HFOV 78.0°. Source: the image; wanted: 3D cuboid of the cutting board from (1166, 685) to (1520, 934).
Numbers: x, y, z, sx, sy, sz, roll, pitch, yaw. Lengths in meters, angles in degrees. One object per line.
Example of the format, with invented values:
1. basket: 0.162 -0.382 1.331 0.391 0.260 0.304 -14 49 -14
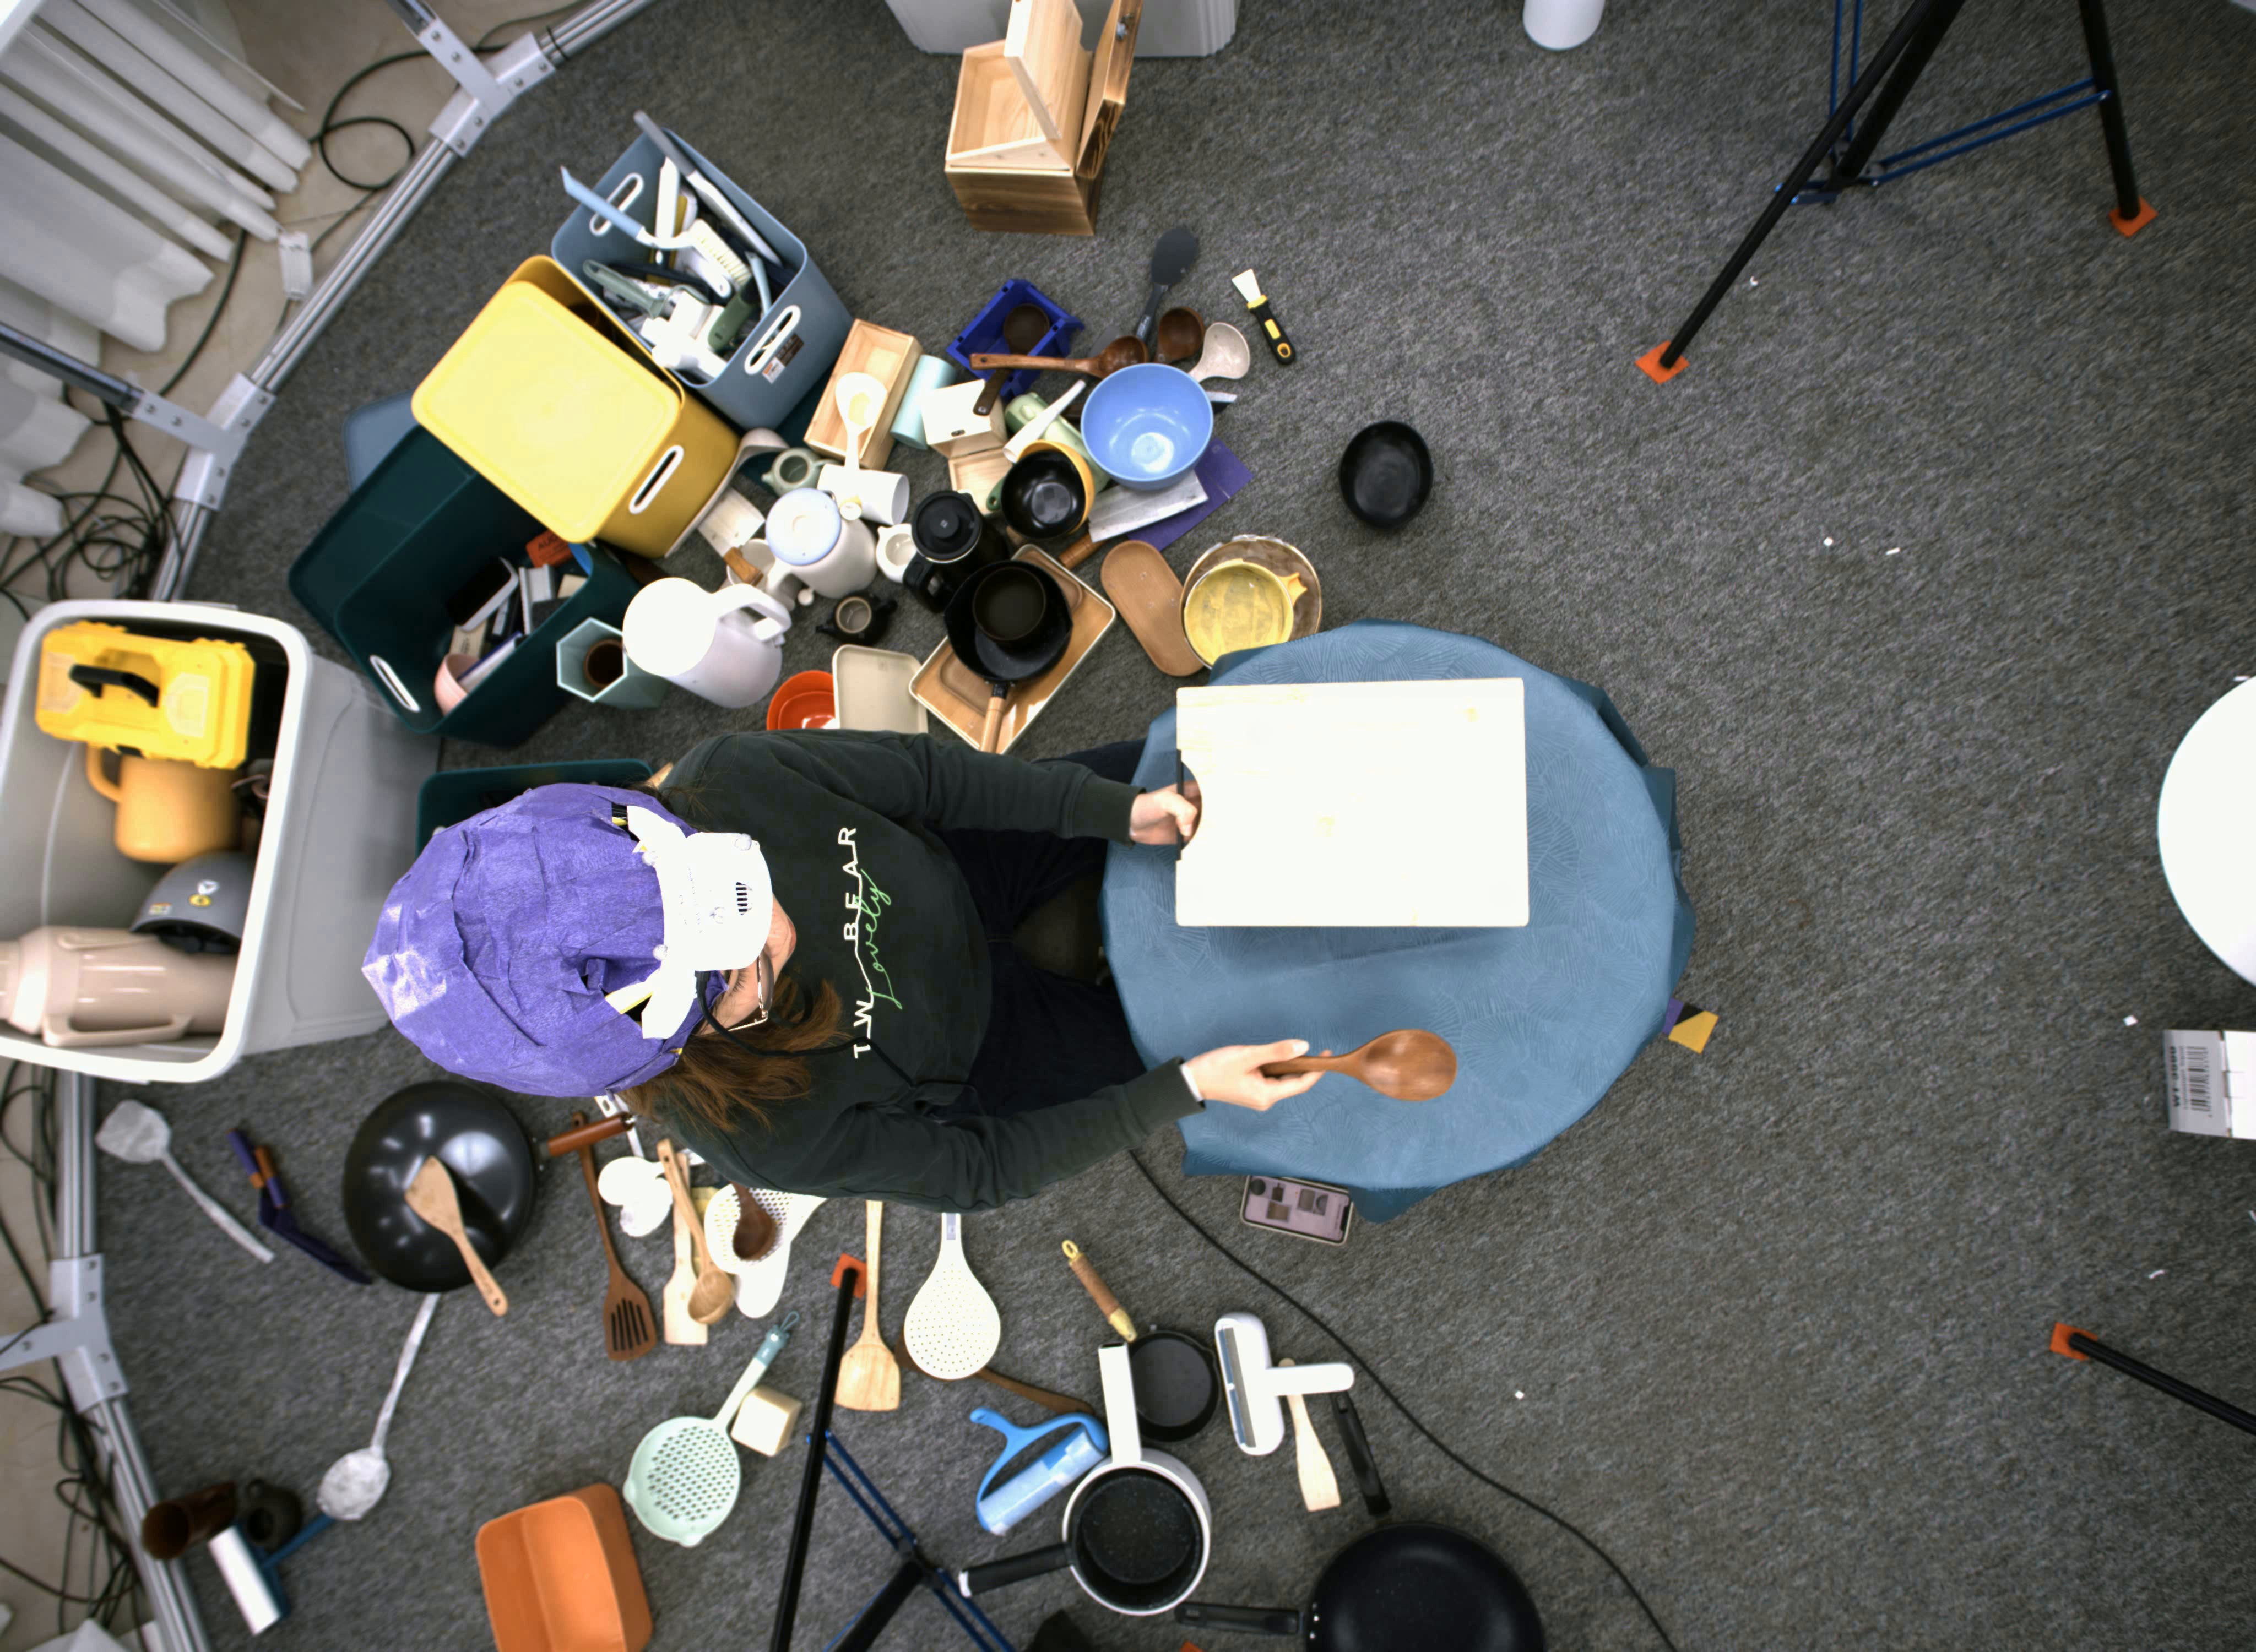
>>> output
1. cutting board: 0.211 -0.020 1.363 0.350 0.023 0.249 -1 86 11

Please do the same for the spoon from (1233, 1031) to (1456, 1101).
1. spoon: 0.207 0.229 1.336 0.217 0.017 0.076 -3 109 17
